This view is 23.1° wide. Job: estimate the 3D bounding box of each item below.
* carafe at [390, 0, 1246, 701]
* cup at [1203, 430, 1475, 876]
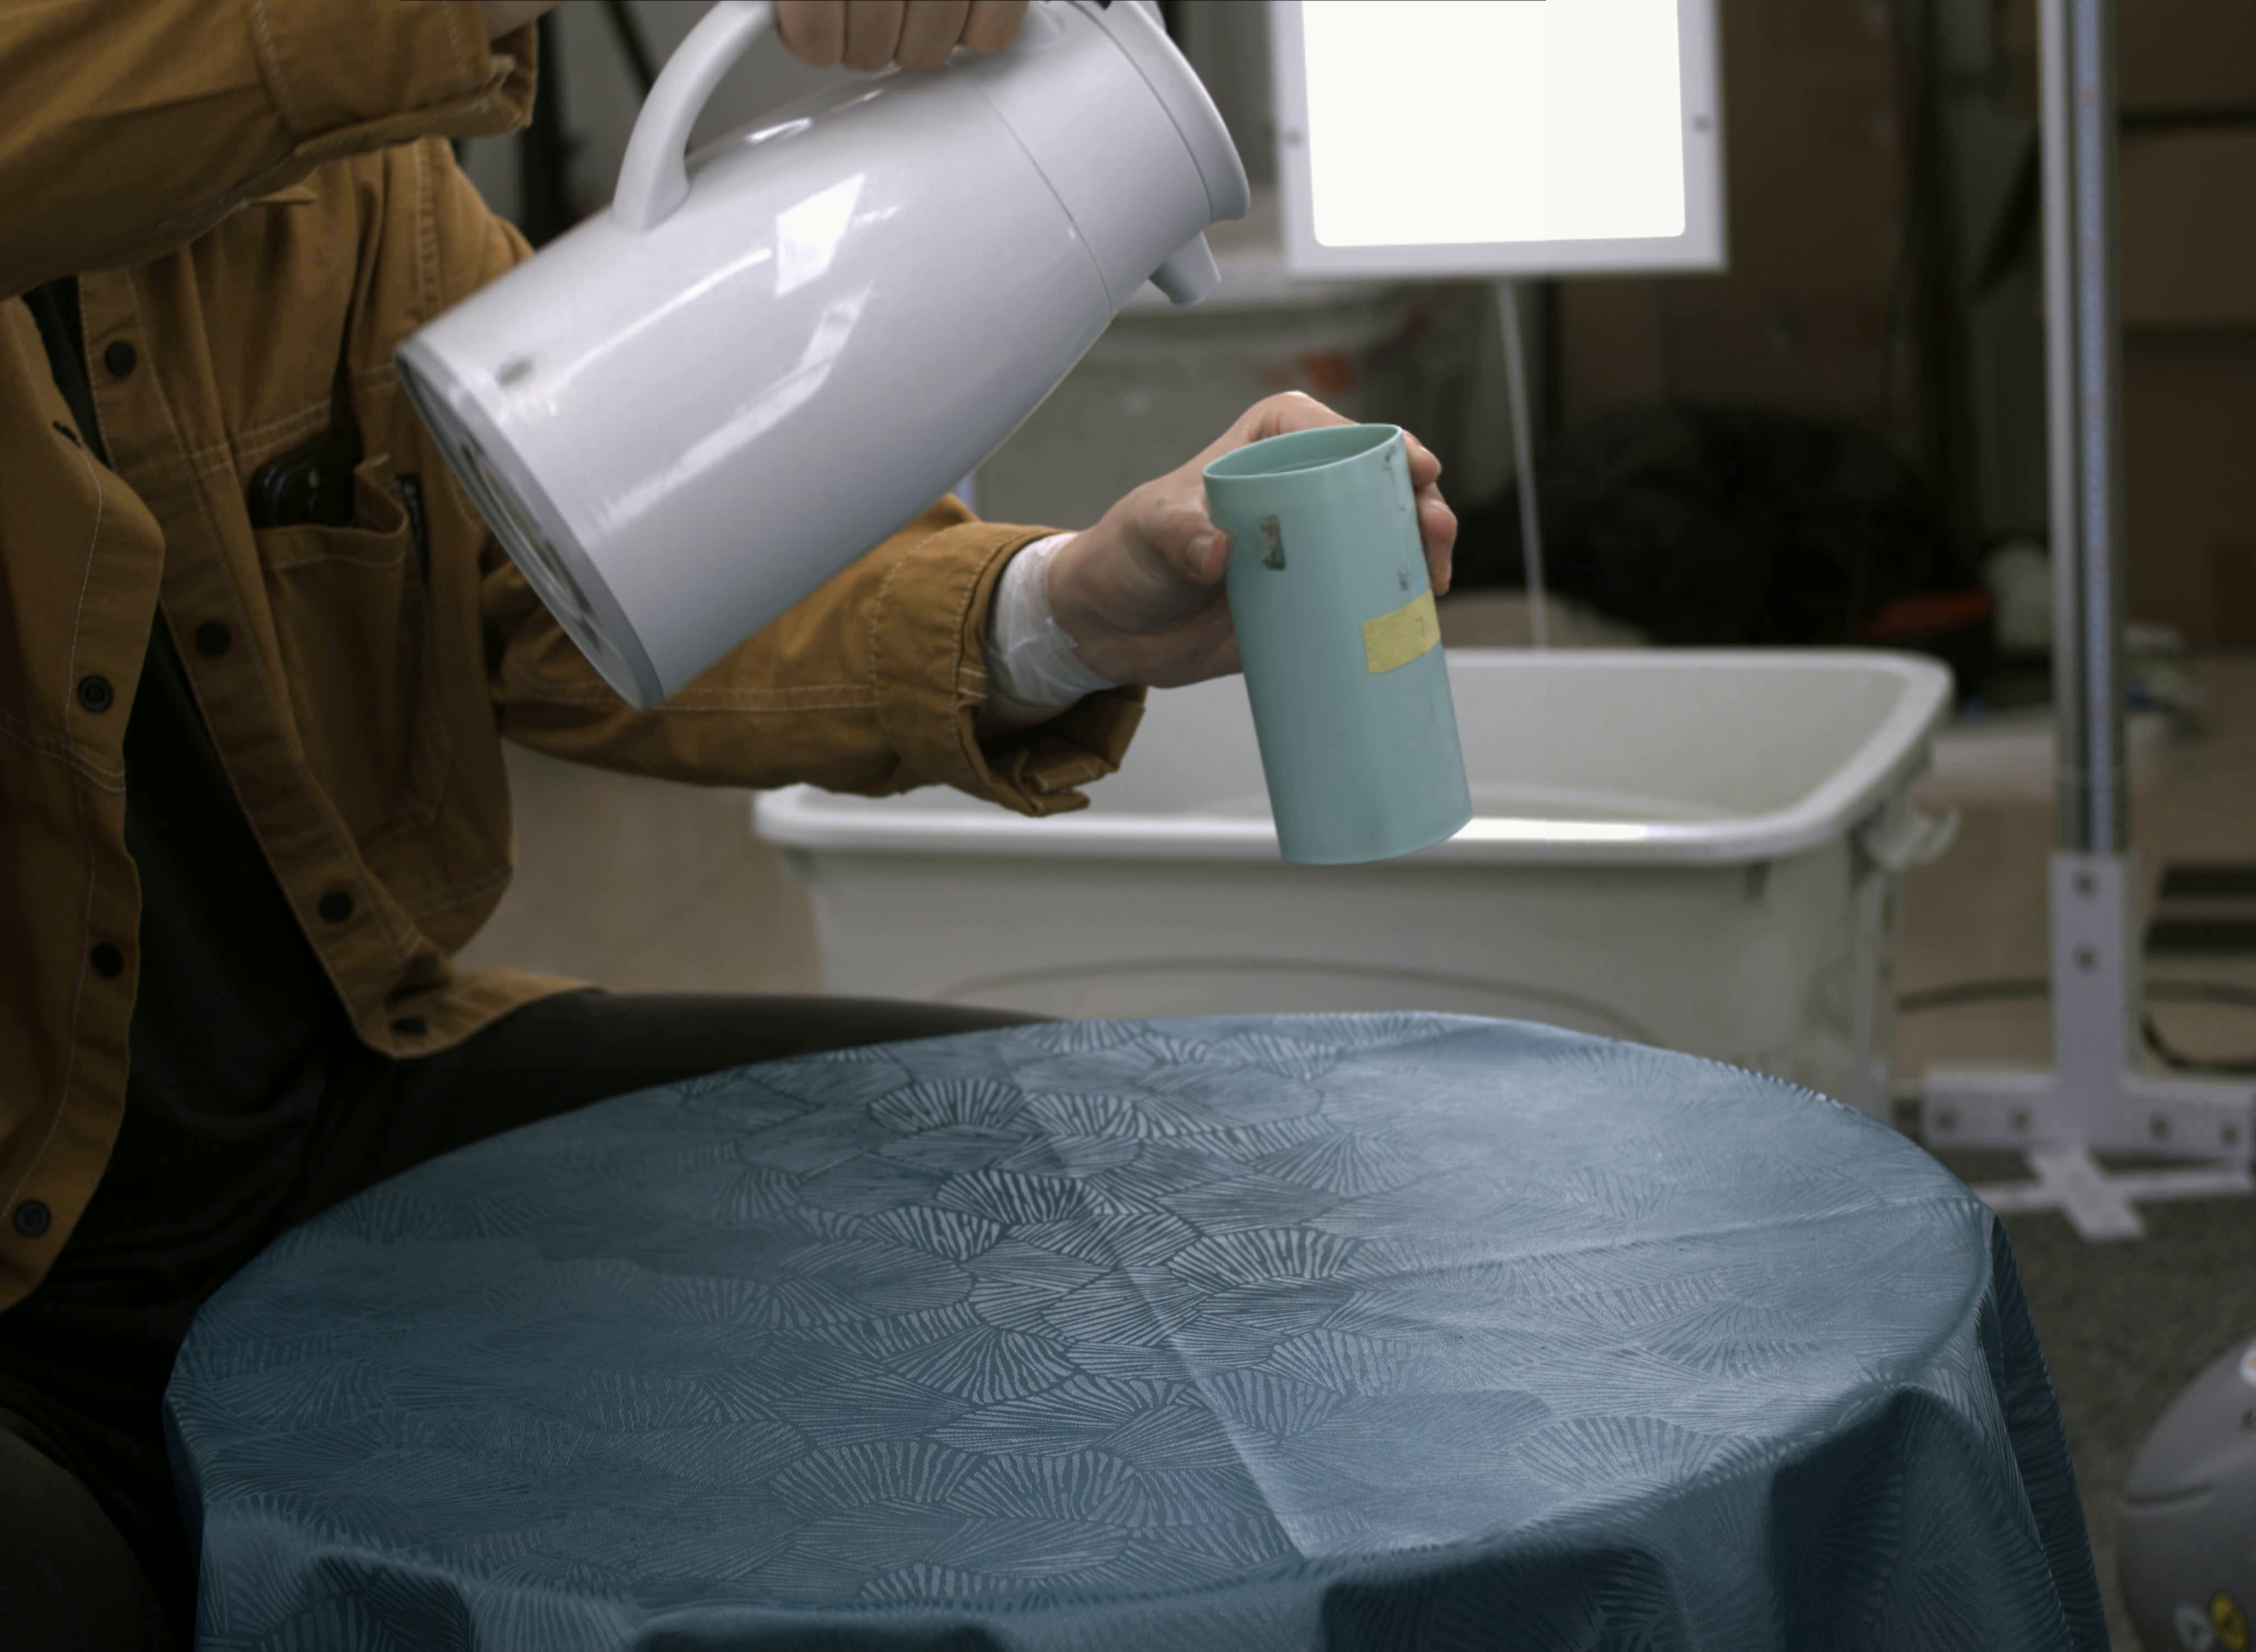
[{"bbox_3d":[-0.091,-0.174,1.652,0.247,0.166,0.134,-35,33,-7],"label":"carafe"},{"bbox_3d":[0.068,-0.056,1.768,0.066,0.132,0.066,-11,14,2],"label":"cup"}]
